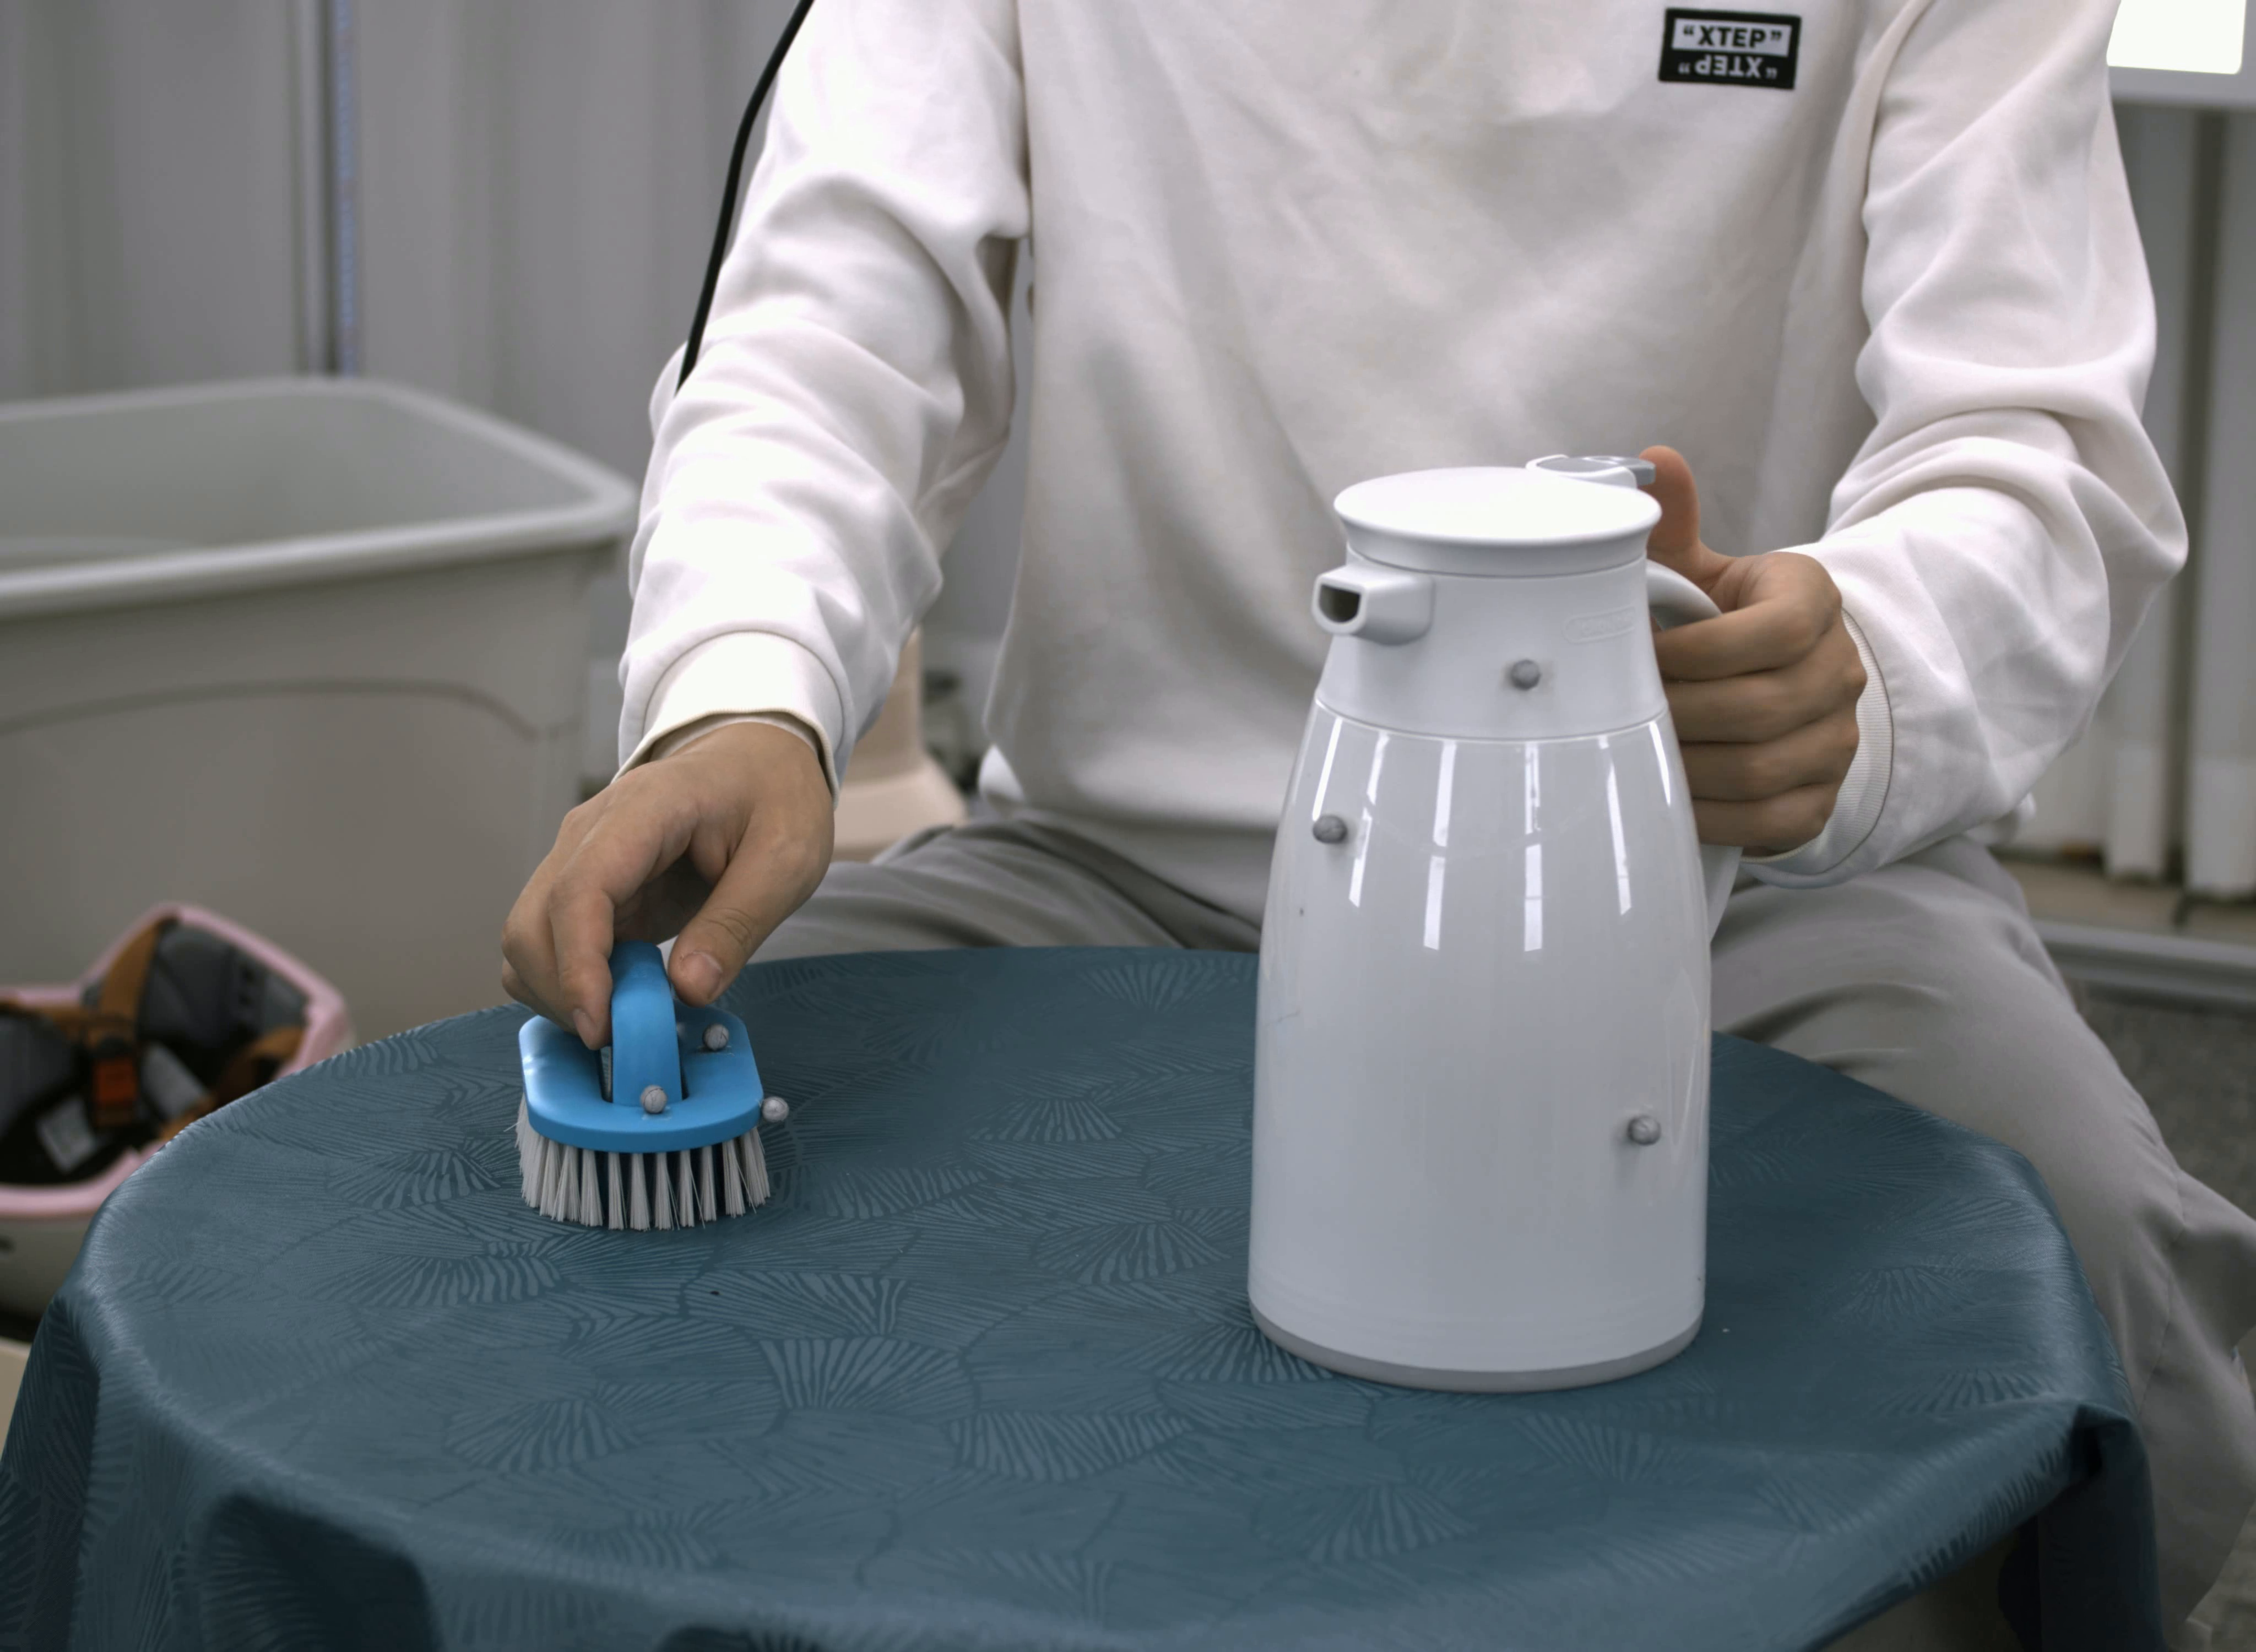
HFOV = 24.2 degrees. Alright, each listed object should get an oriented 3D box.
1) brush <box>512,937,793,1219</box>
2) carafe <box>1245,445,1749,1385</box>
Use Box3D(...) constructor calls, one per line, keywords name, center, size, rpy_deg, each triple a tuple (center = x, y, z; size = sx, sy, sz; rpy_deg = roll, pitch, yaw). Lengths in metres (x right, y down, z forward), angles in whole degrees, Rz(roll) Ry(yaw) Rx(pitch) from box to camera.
Box3D(name="brush", center=(-0.151, 0.073, 1.645), size=(0.084, 0.064, 0.141), rpy_deg=(-6, 14, -5))
Box3D(name="carafe", center=(0.114, 0.017, 1.510), size=(0.168, 0.250, 0.131), rpy_deg=(-14, 21, -43))
